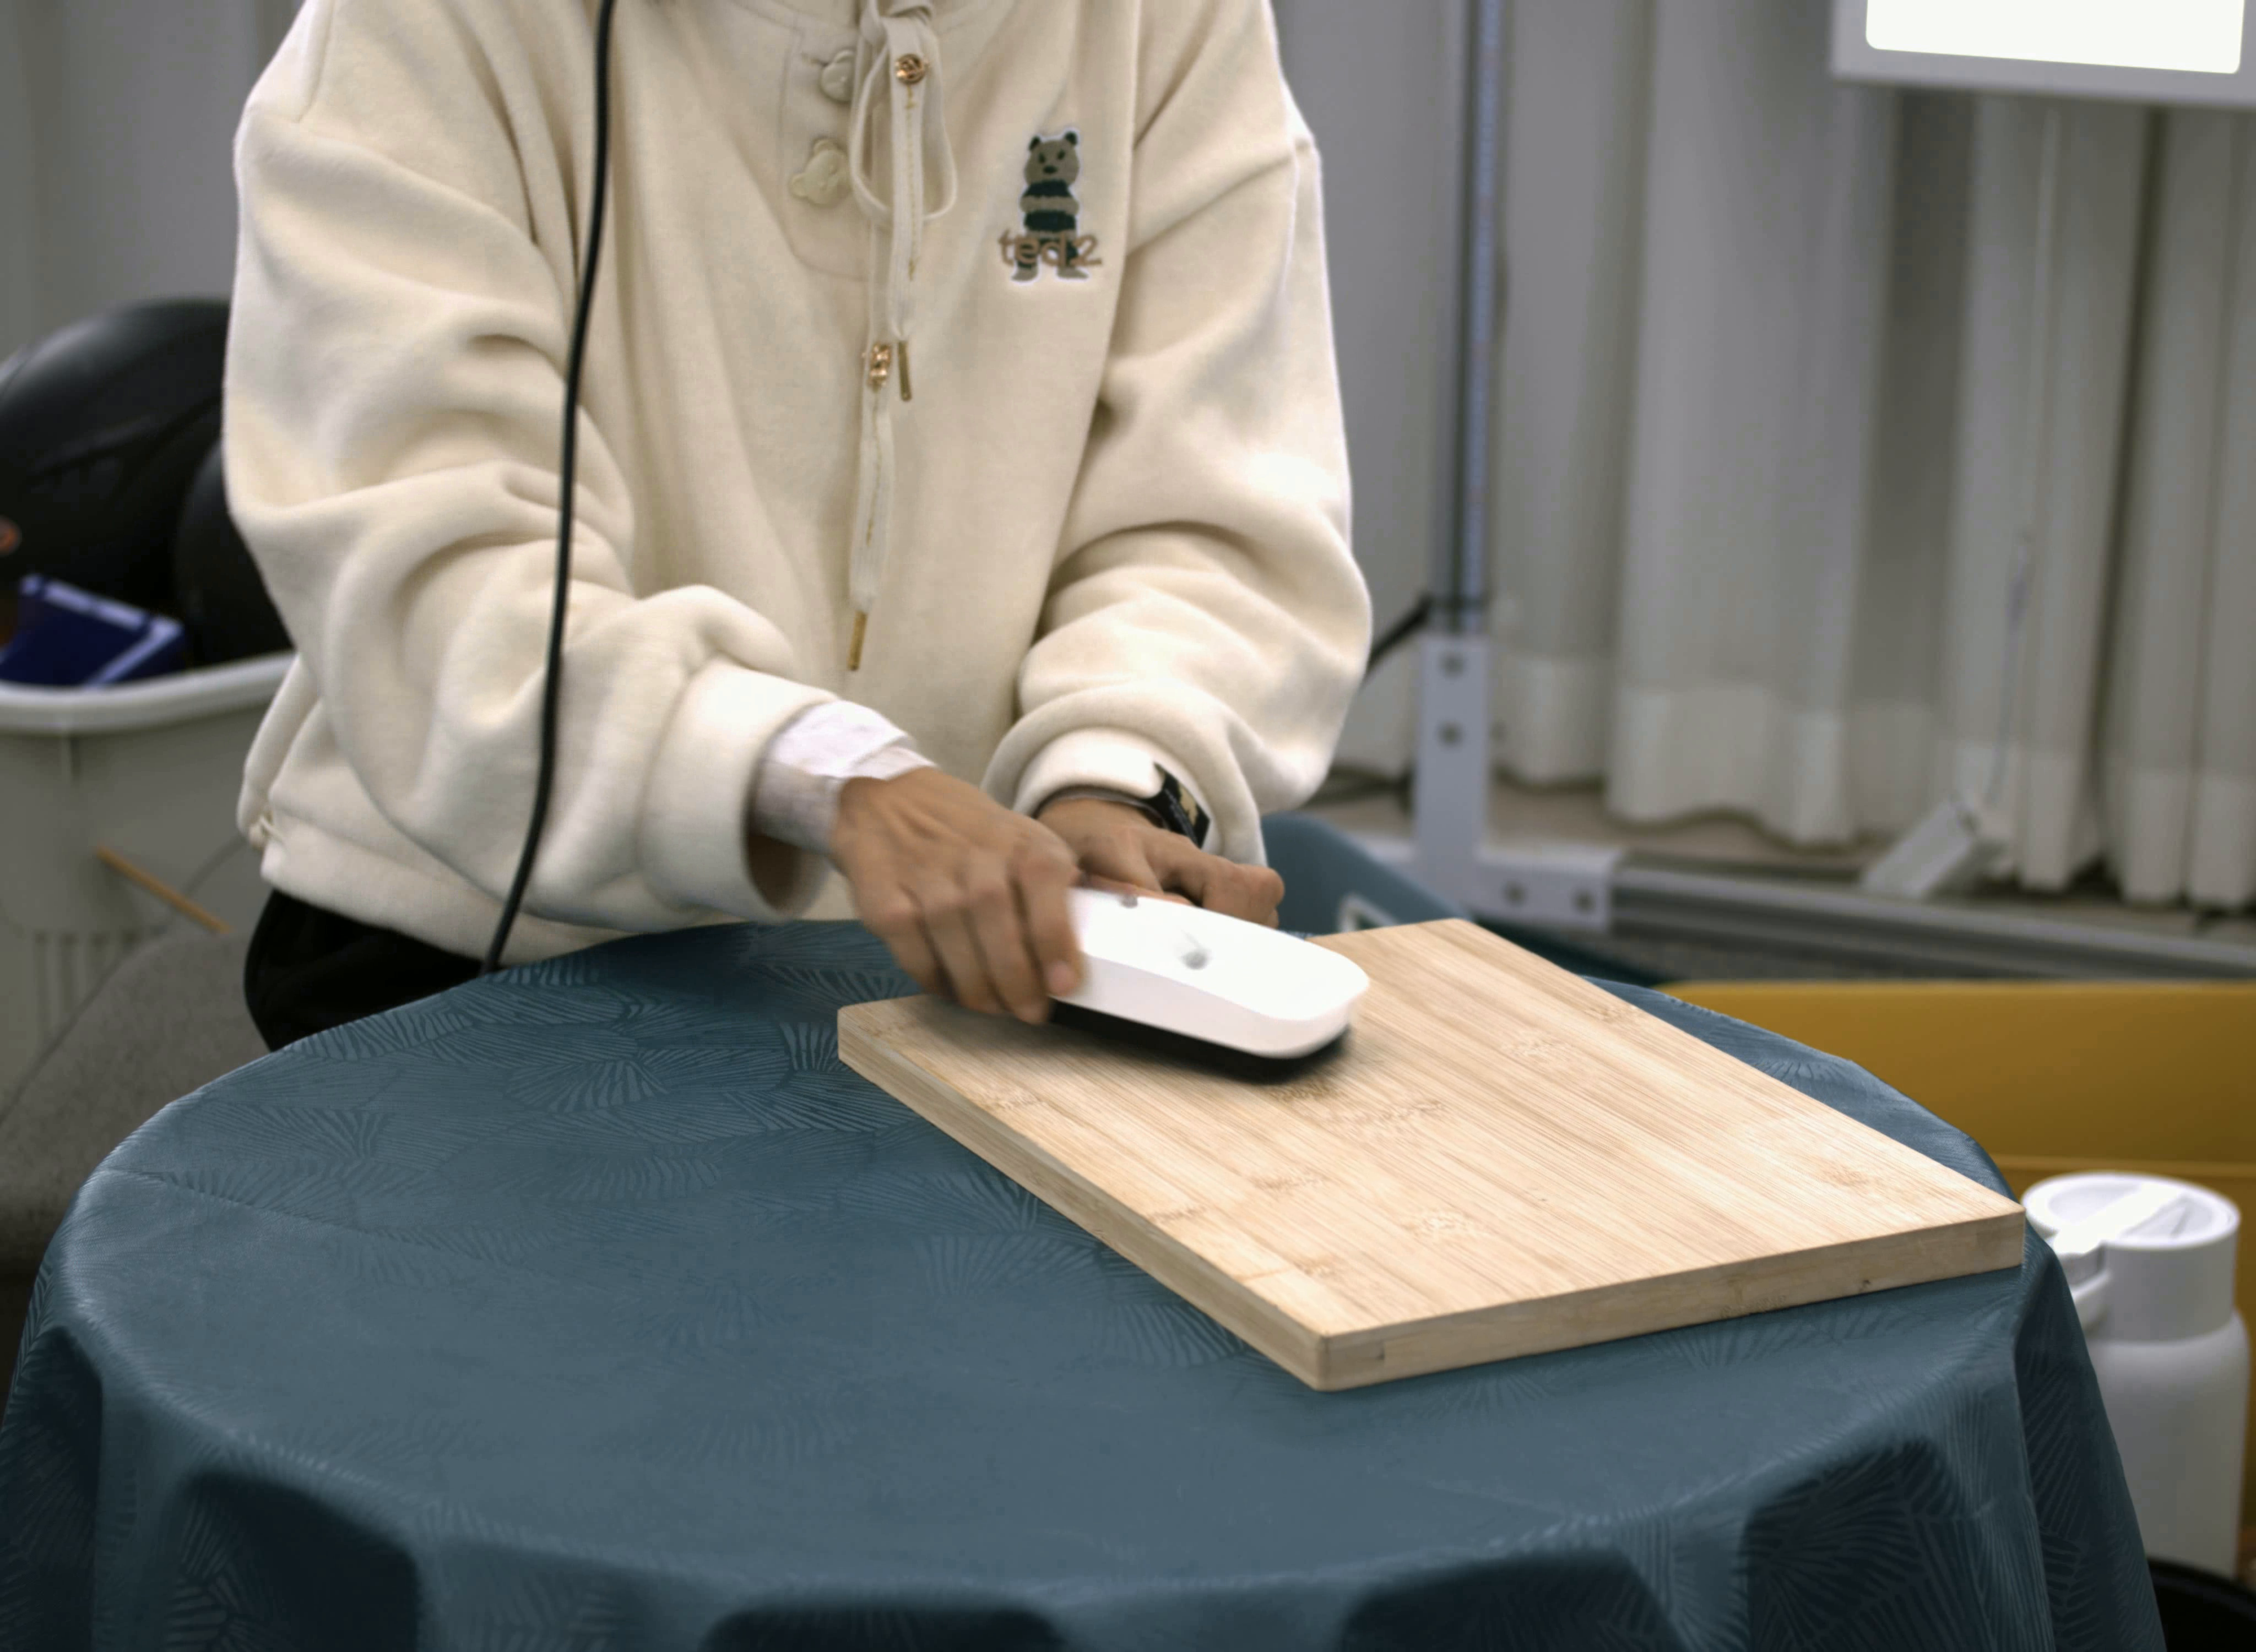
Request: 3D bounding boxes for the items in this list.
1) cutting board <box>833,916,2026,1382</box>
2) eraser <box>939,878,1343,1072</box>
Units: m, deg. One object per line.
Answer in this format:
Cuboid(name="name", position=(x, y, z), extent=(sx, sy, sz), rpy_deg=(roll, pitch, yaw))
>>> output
Cuboid(name="cutting board", position=(0.084, 0.095, 1.658), extent=(0.252, 0.024, 0.344), rpy_deg=(-8, 17, -27))
Cuboid(name="eraser", position=(0.004, 0.045, 1.707), extent=(0.129, 0.035, 0.063), rpy_deg=(15, 22, 29))
